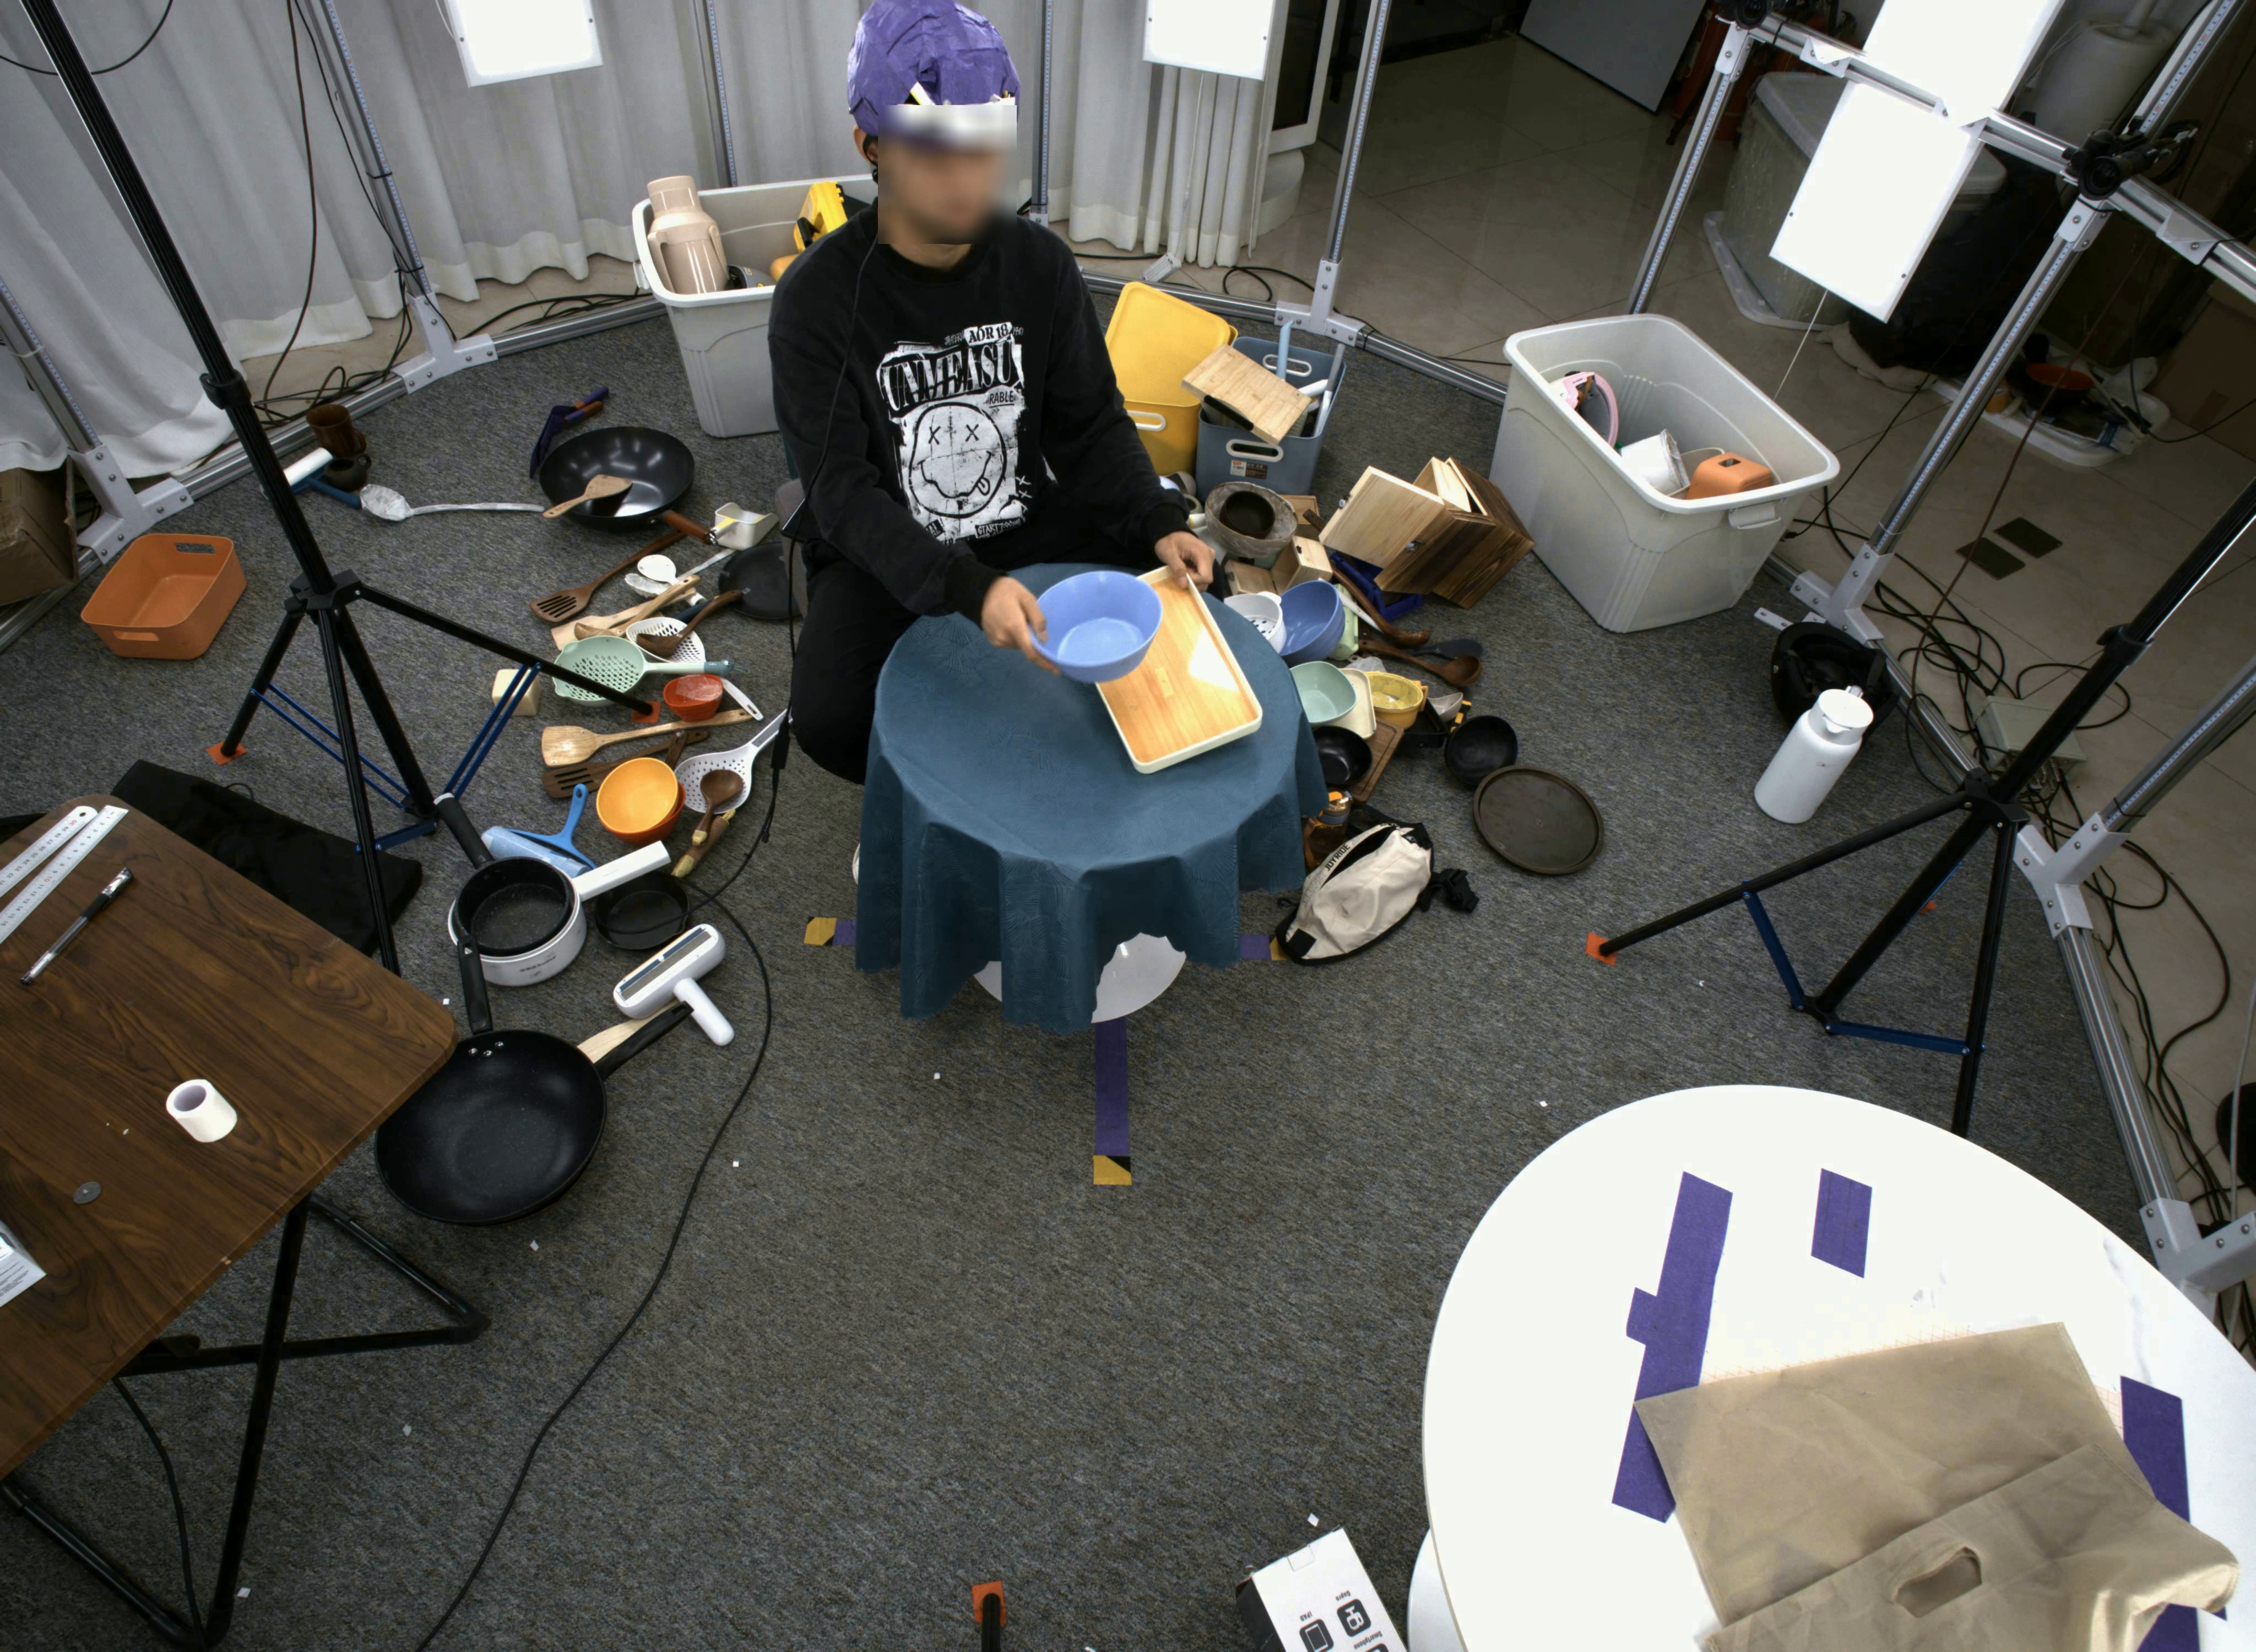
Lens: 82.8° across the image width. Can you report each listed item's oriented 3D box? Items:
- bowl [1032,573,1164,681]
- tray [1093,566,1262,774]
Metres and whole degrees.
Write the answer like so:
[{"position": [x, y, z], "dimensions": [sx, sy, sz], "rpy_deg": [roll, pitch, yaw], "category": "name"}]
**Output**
[{"position": [-0.037, -0.256, 1.708], "dimensions": [0.176, 0.068, 0.180], "rpy_deg": [-4, 48, 5], "category": "bowl"}, {"position": [0.047, -0.226, 1.818], "dimensions": [0.192, 0.027, 0.306], "rpy_deg": [-22, 61, -6], "category": "tray"}]
